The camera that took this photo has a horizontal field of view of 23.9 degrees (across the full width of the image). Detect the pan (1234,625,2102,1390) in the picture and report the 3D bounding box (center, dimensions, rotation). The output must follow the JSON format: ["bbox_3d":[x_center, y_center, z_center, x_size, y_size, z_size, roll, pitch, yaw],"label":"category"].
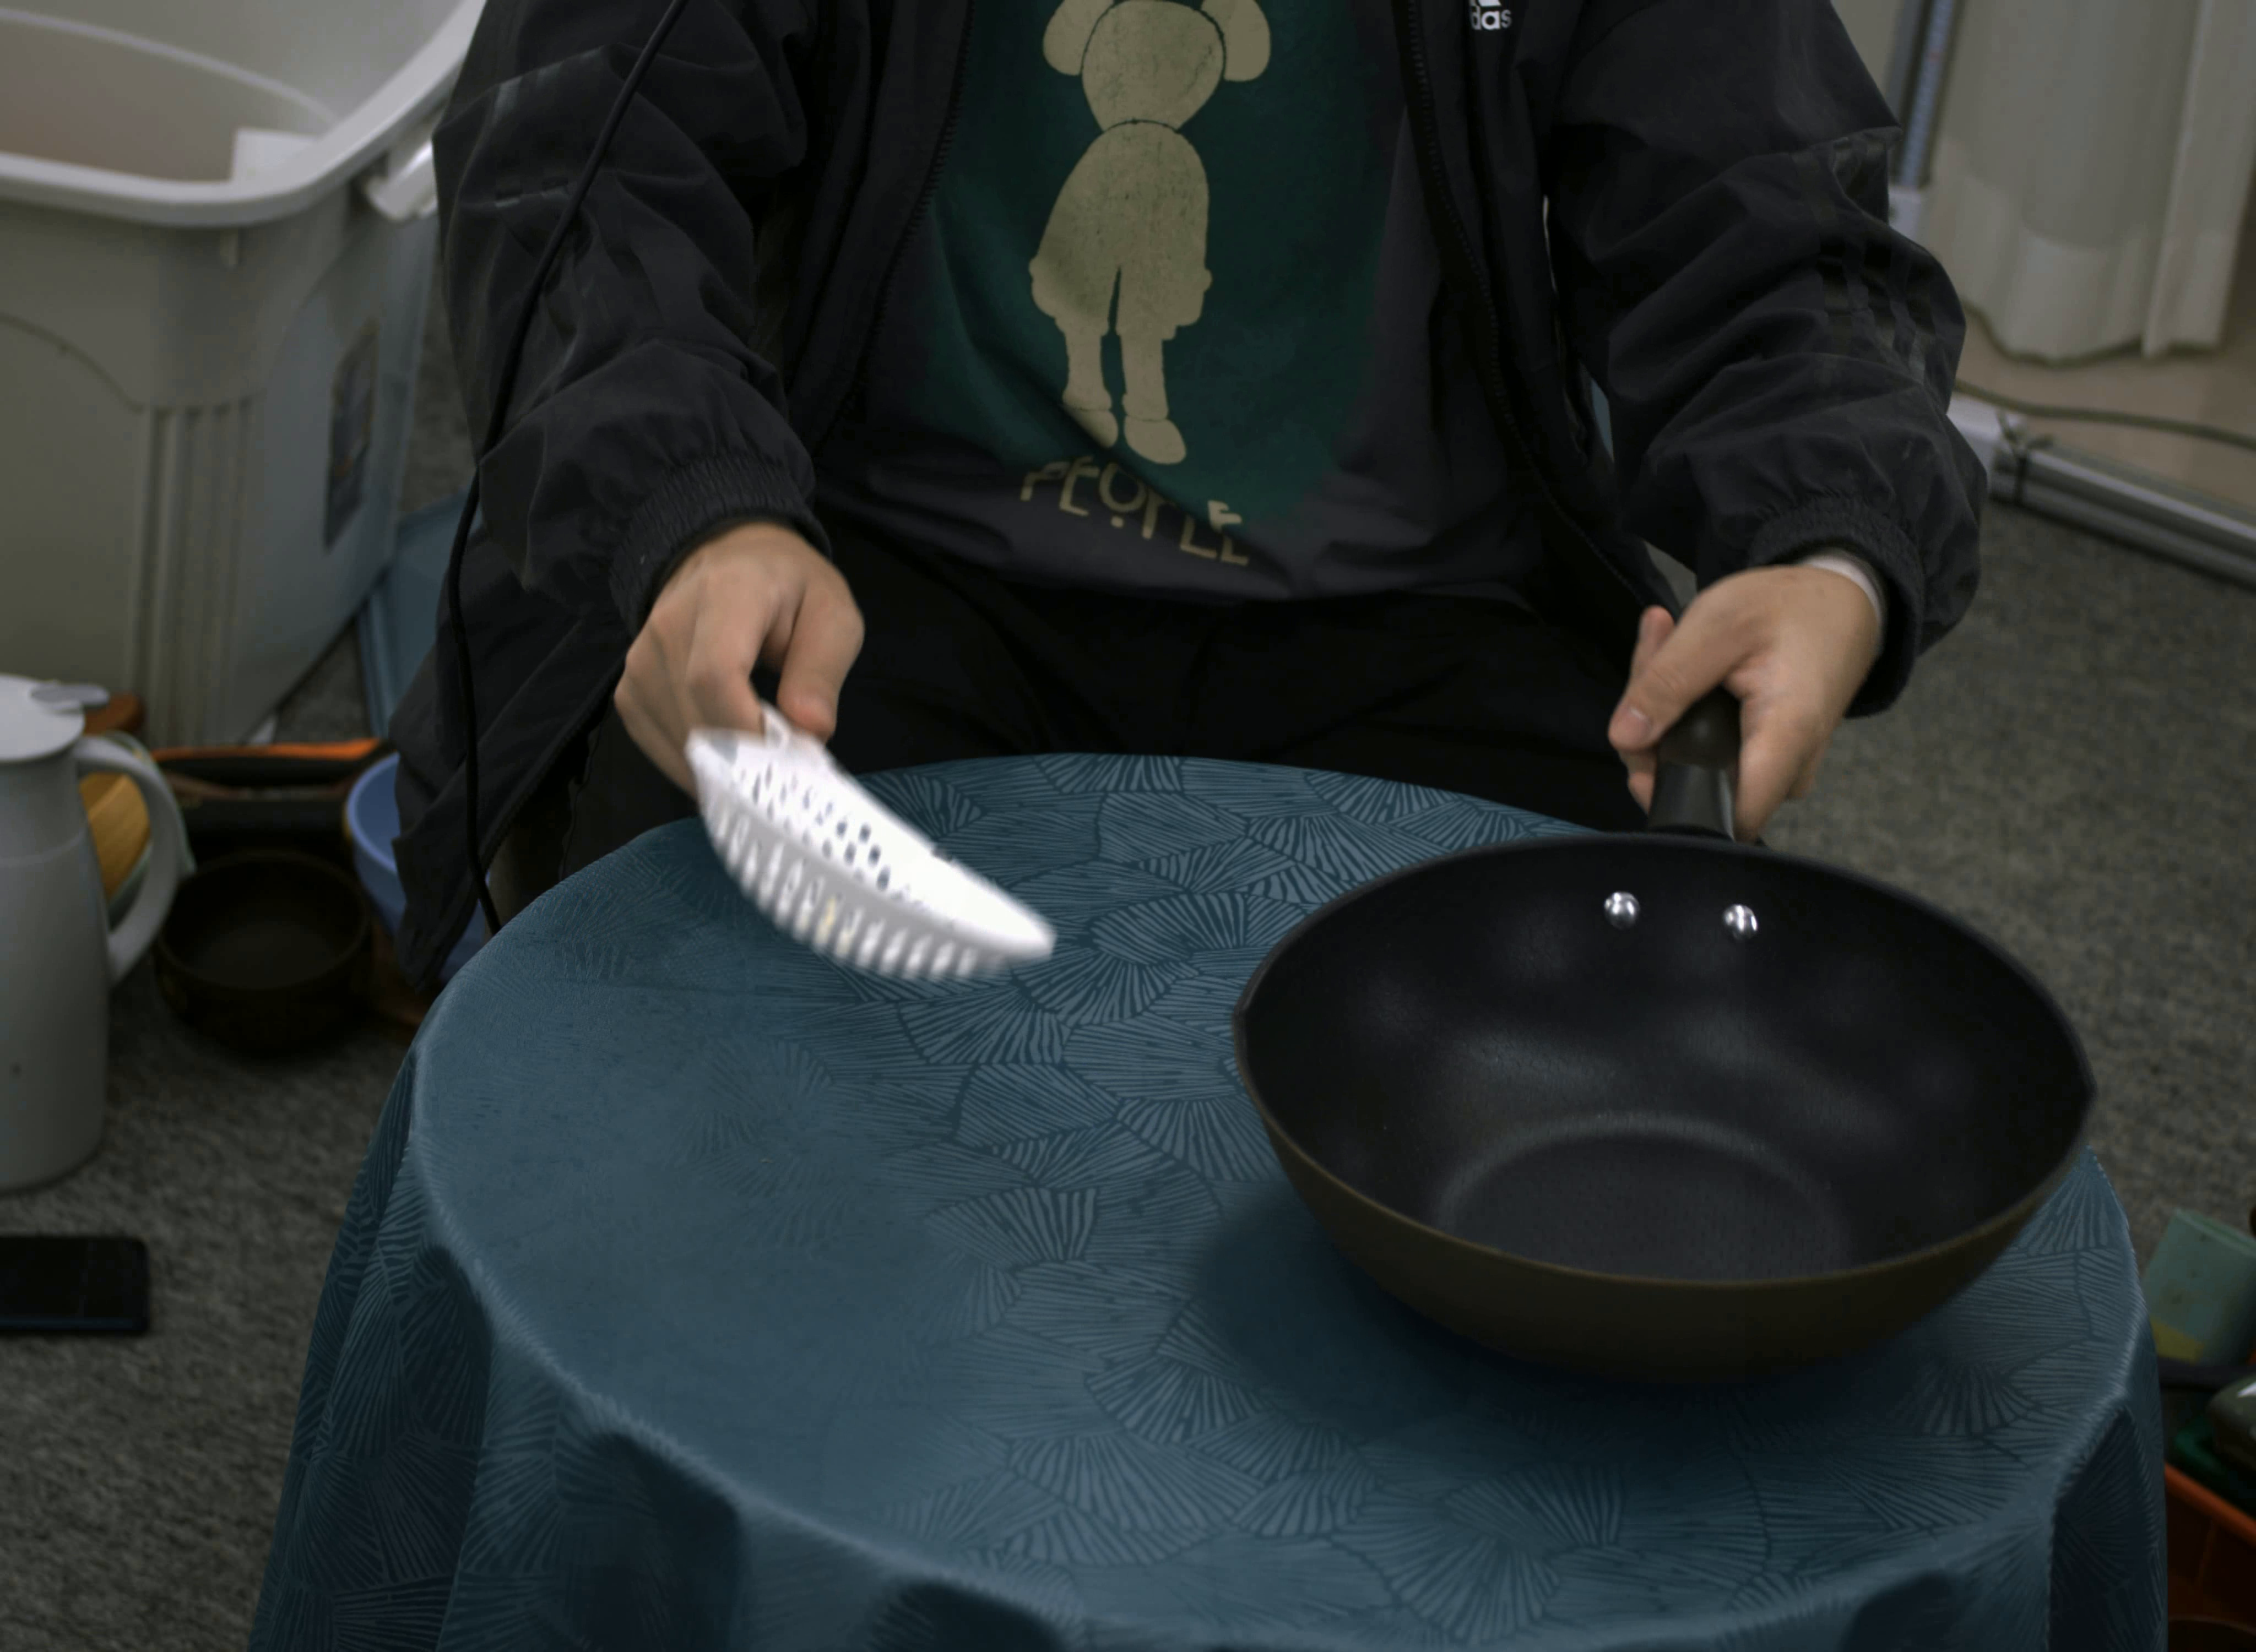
[{"bbox_3d":[0.189,0.063,1.852,0.288,0.086,0.465,7,29,7],"label":"pan"}]

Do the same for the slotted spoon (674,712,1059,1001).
[{"bbox_3d":[-0.113,-0.003,1.811,0.136,0.050,0.350,26,10,-17],"label":"slotted spoon"}]
